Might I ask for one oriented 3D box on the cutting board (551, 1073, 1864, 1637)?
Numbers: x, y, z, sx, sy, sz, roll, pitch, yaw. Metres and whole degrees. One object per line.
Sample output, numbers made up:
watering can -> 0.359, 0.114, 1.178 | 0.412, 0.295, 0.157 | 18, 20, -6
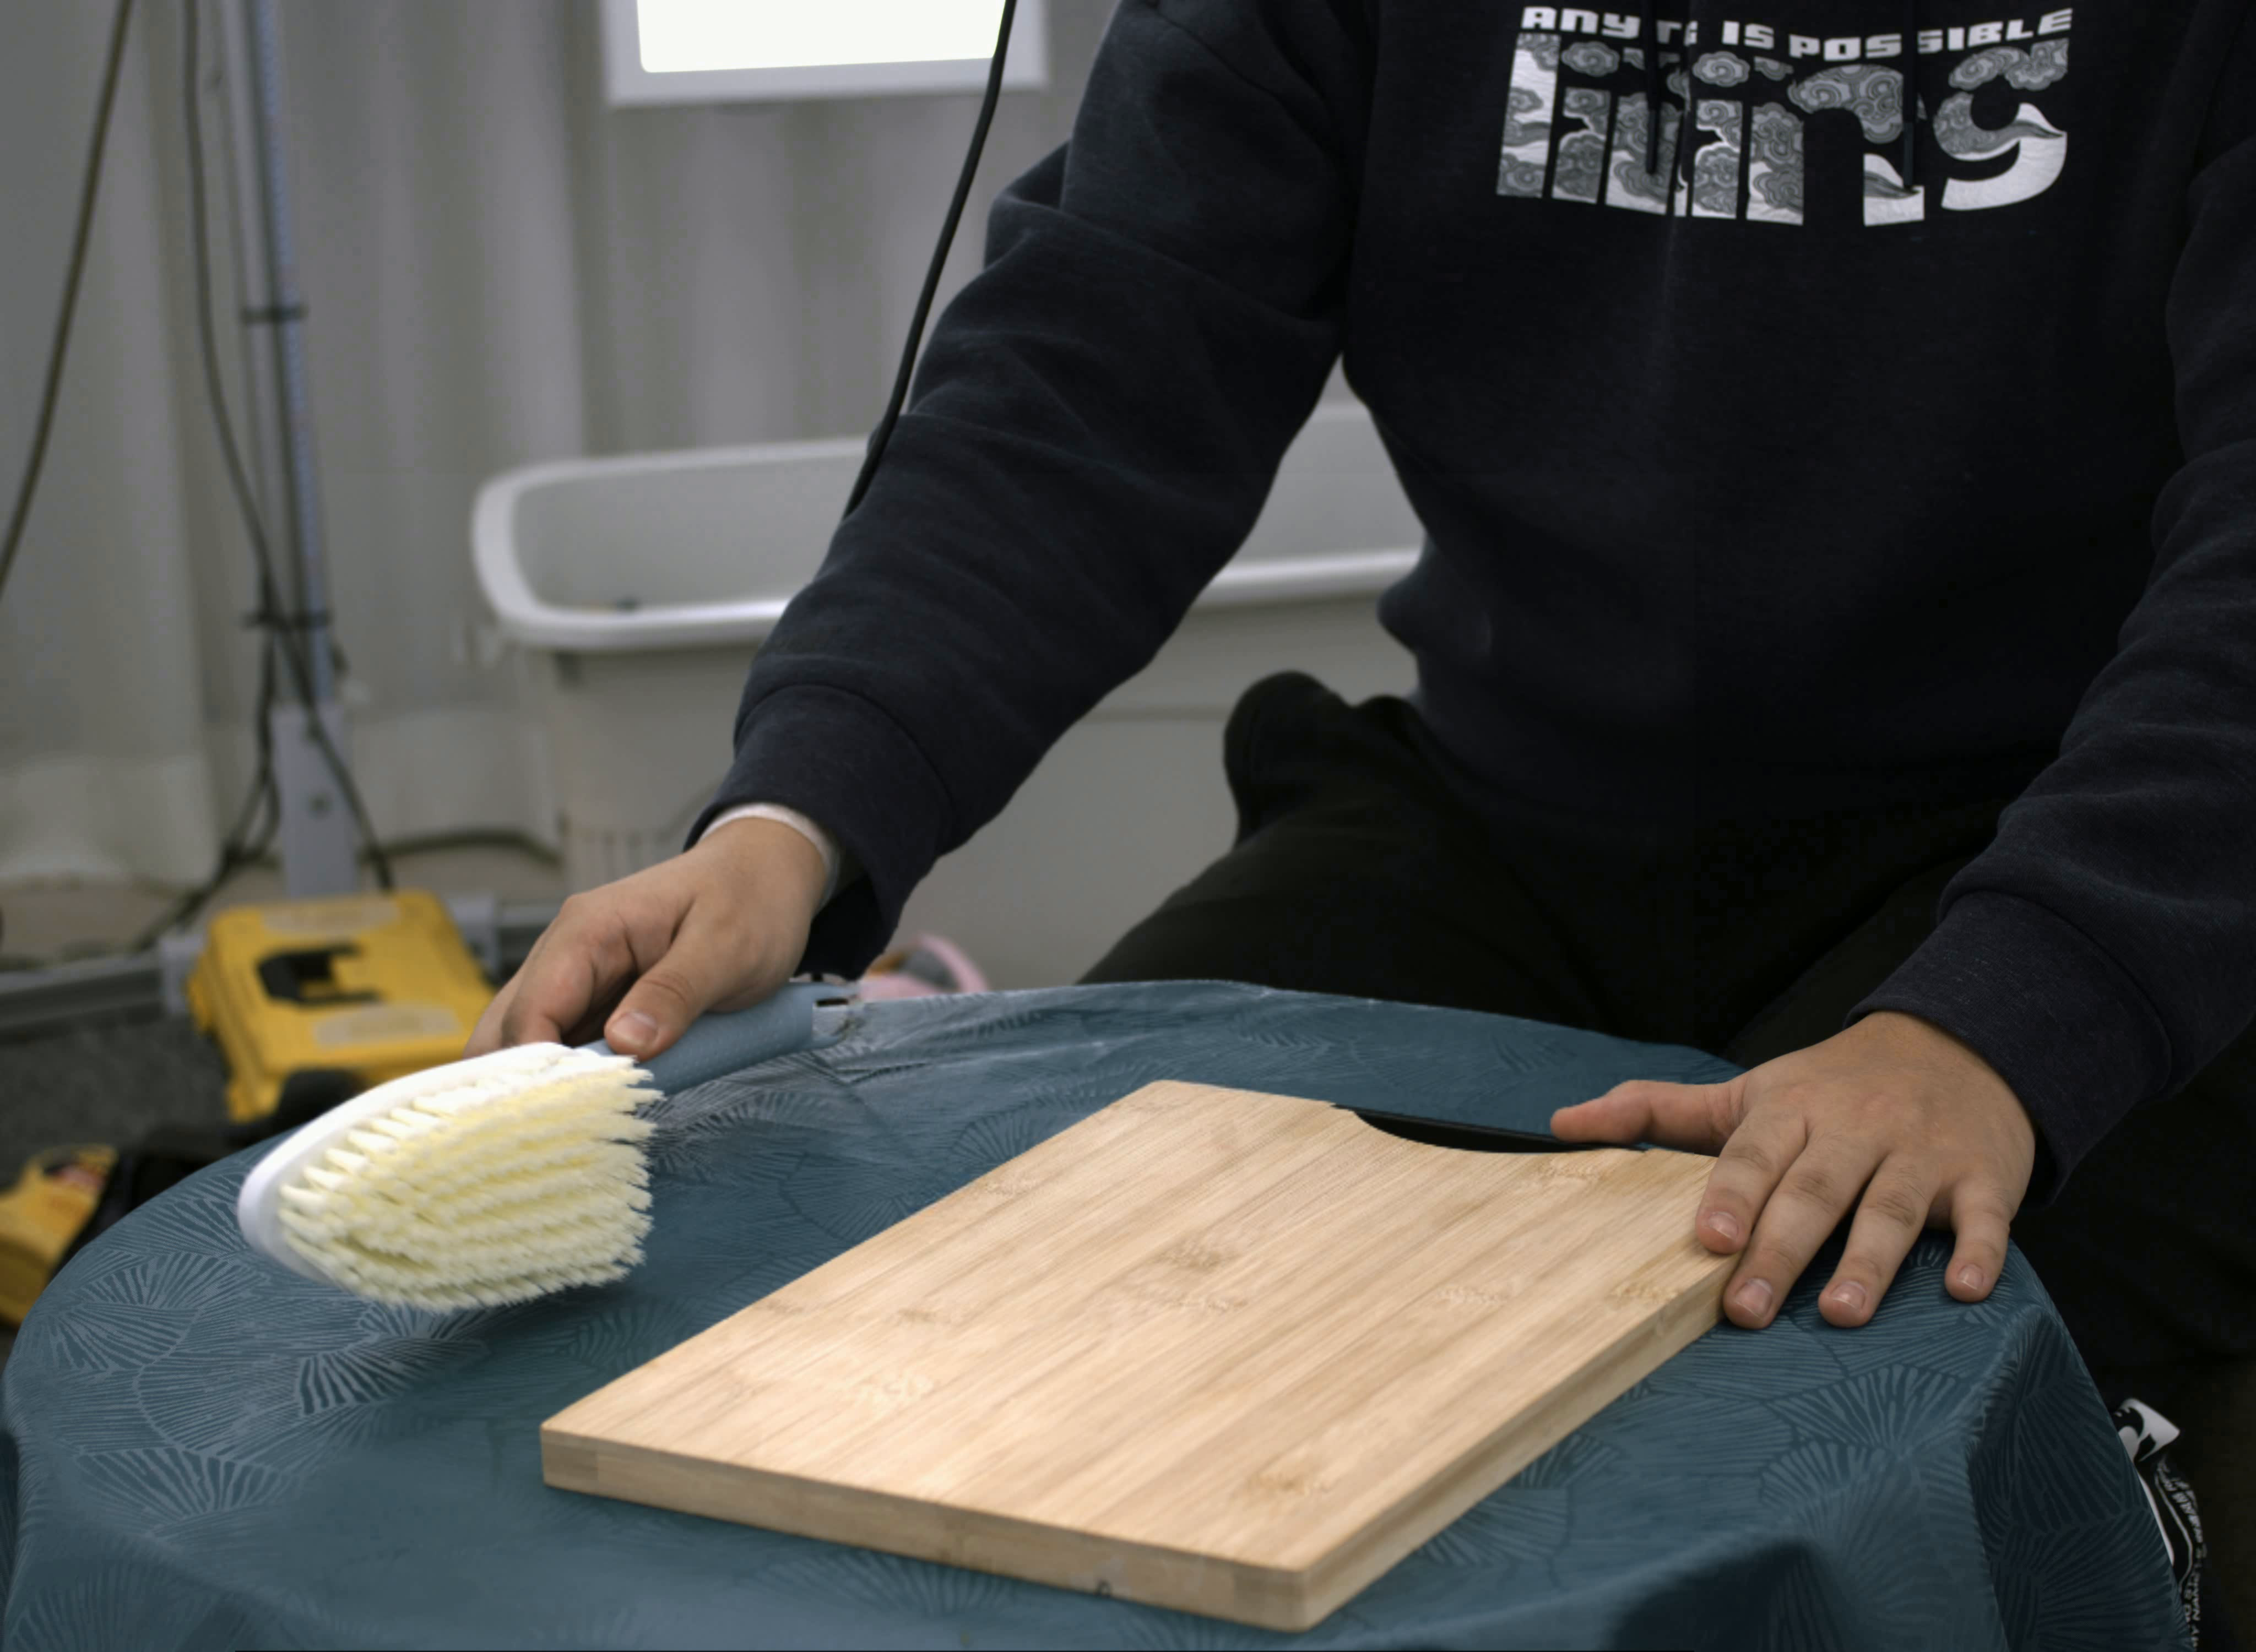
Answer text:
cutting board -> 0.031, 0.142, 1.577 | 0.251, 0.023, 0.349 | 7, 17, 29

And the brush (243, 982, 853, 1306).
brush -> -0.148, 0.085, 1.694 | 0.085, 0.082, 0.325 | 42, 25, 16
